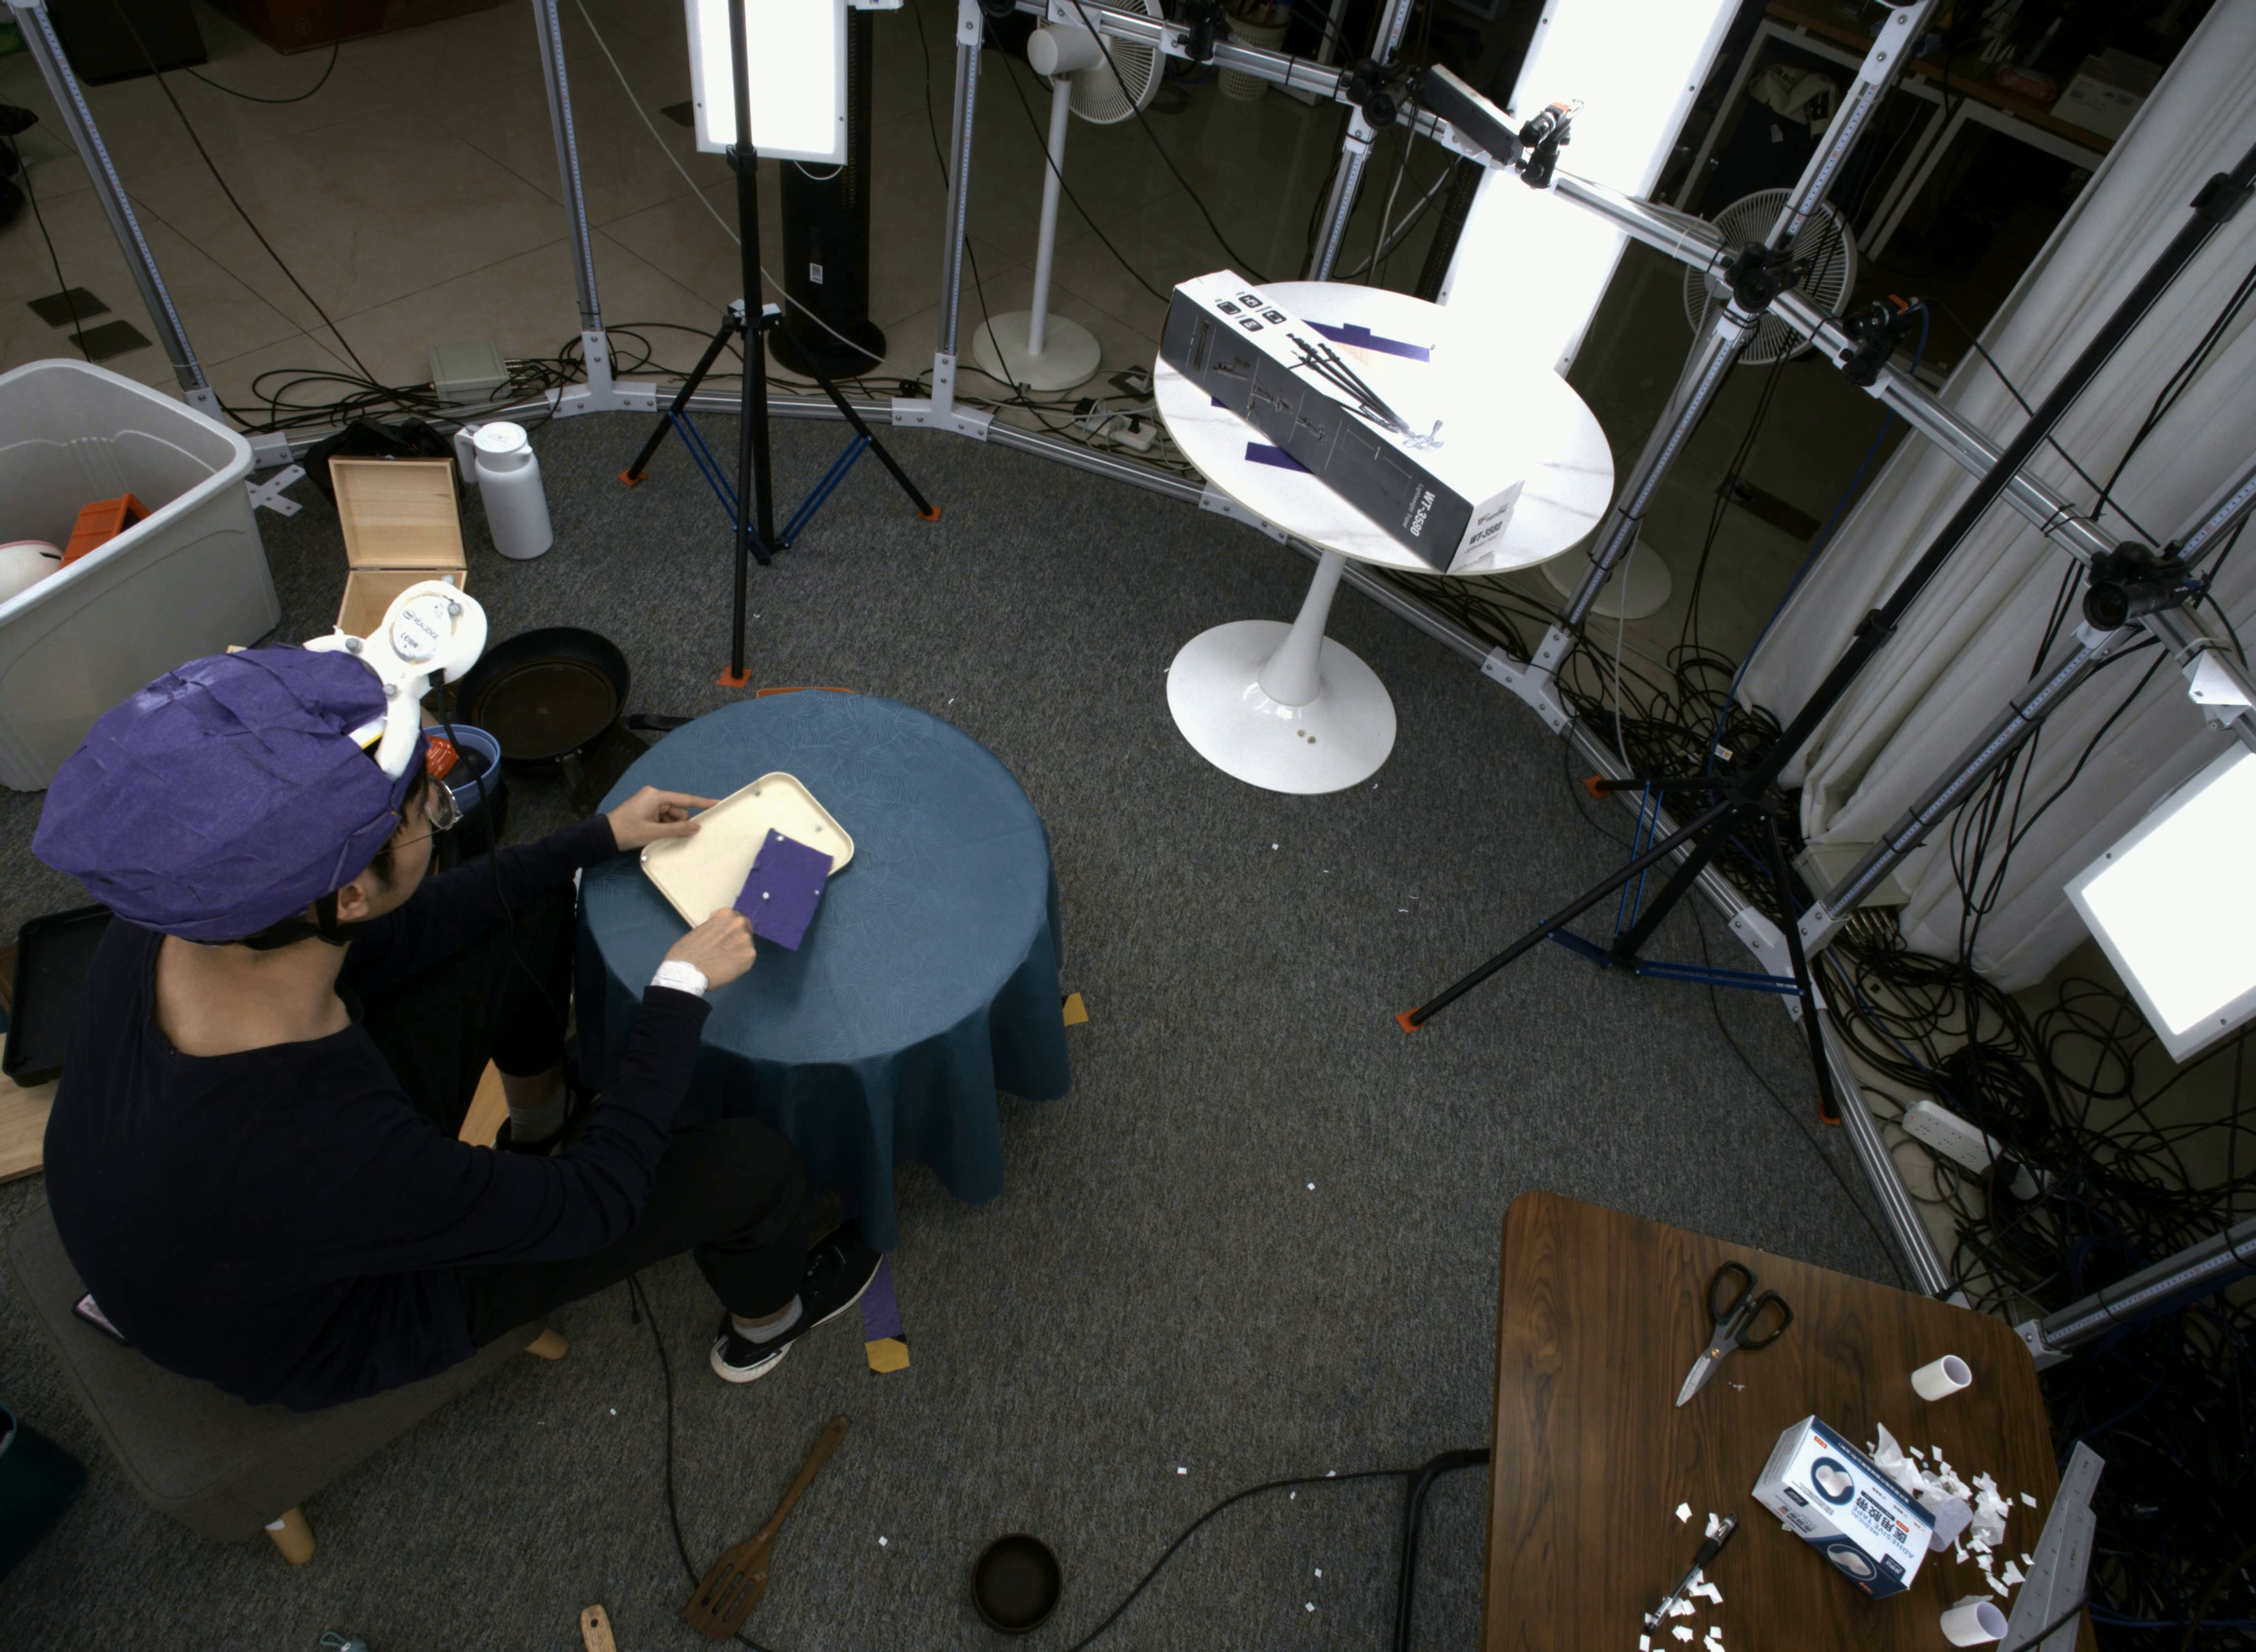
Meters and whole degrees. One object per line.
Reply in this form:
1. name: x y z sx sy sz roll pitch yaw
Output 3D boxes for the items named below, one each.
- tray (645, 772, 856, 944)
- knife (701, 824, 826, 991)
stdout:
1. tray: -0.485 0.038 1.668 0.169 0.017 0.240 46 55 10
2. knife: -0.431 0.097 1.566 0.105 0.032 0.308 25 31 -15
